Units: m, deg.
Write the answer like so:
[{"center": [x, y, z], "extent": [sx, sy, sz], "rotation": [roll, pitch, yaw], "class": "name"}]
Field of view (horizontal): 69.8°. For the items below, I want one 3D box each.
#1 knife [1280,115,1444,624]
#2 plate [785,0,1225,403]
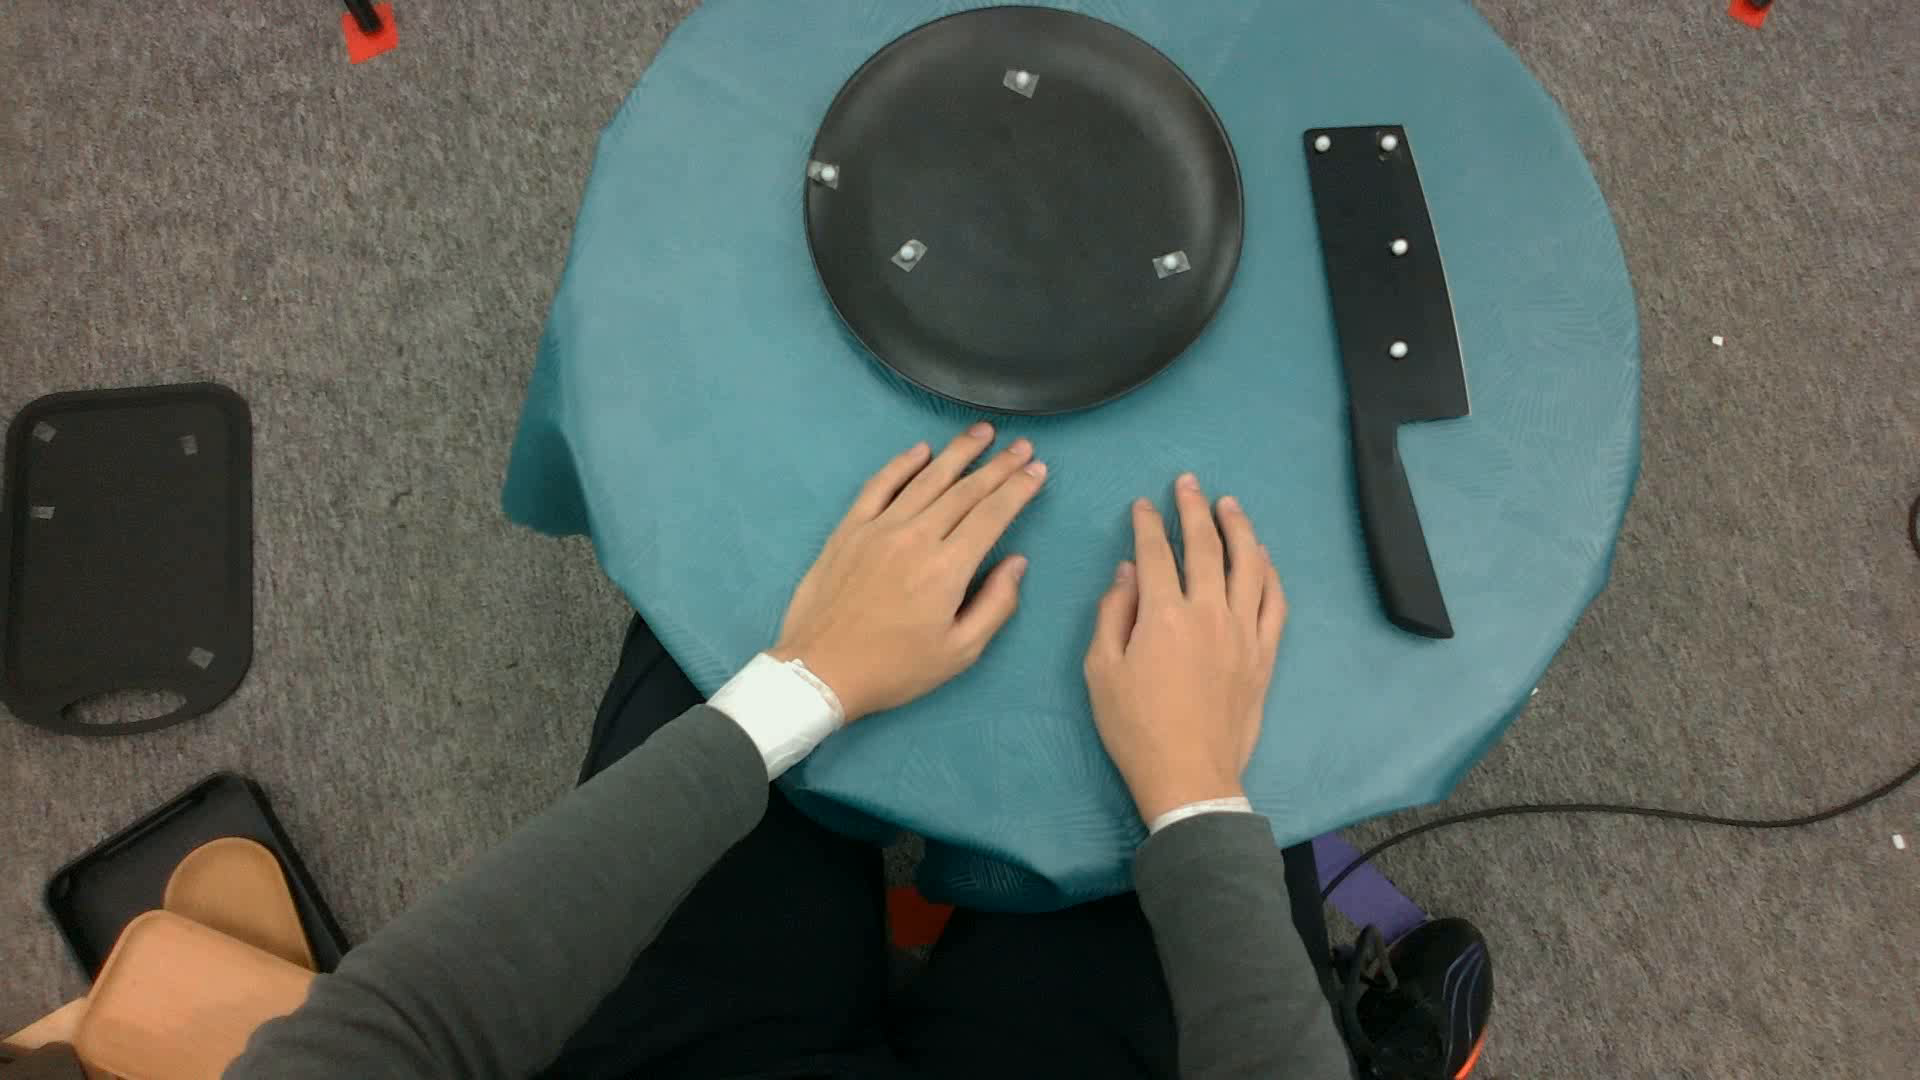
[{"center": [0.229, -0.102, 0.761], "extent": [0.081, 0.021, 0.303], "rotation": [-1, 74, -5], "class": "knife"}, {"center": [0.026, -0.189, 0.765], "extent": [0.244, 0.023, 0.245], "rotation": [1, 76, -3], "class": "plate"}]
